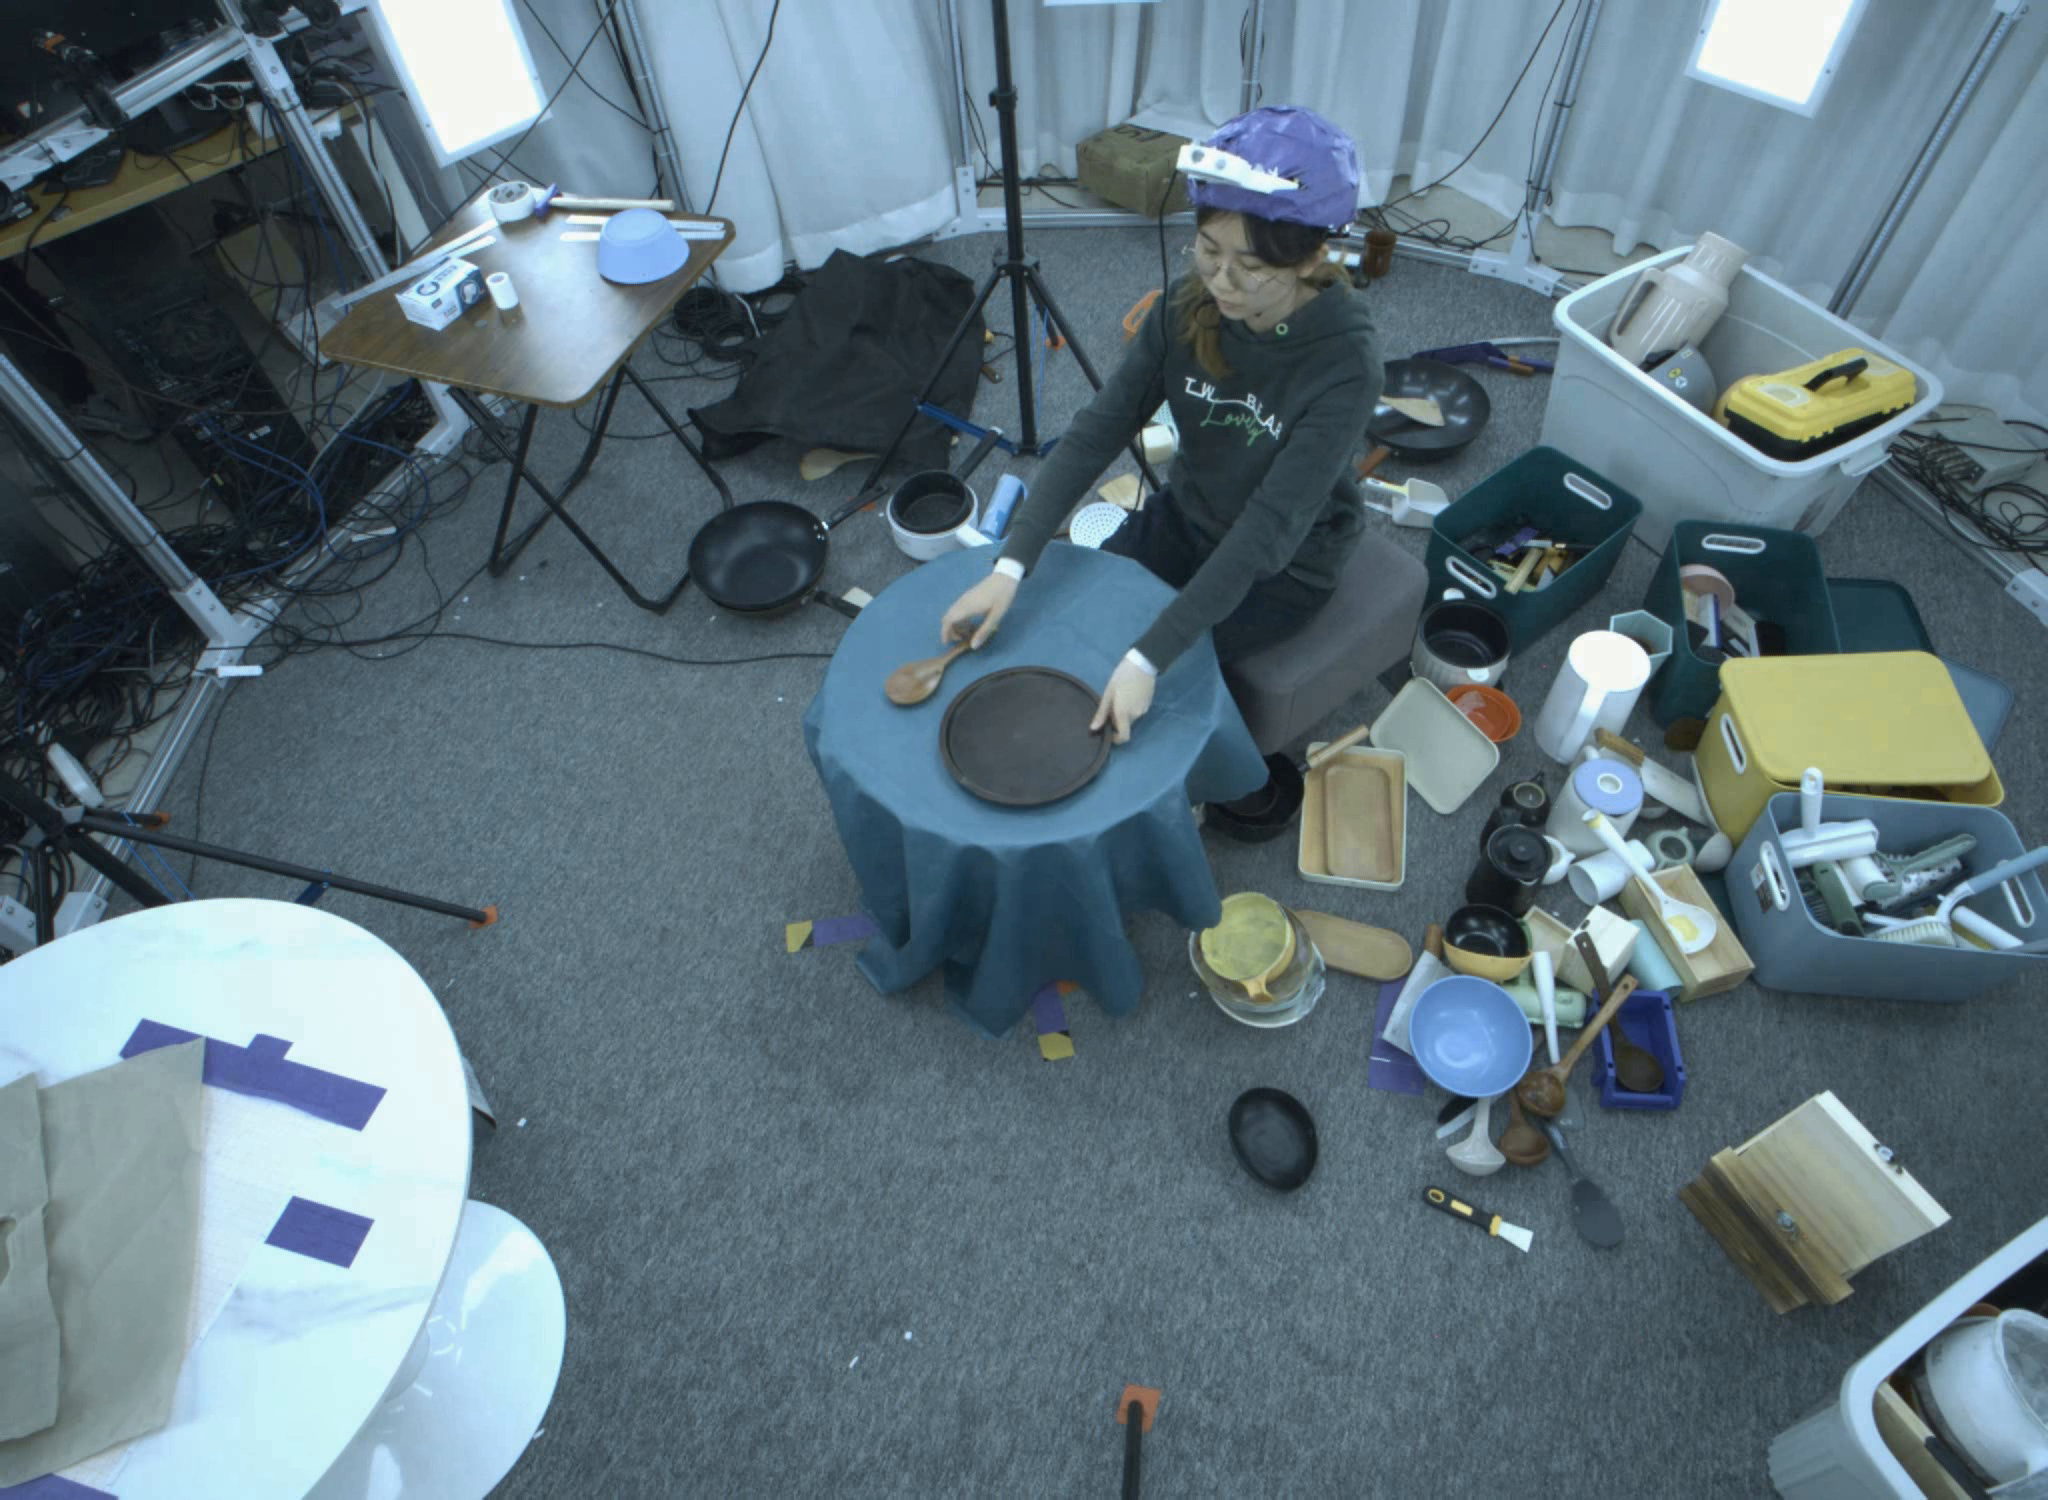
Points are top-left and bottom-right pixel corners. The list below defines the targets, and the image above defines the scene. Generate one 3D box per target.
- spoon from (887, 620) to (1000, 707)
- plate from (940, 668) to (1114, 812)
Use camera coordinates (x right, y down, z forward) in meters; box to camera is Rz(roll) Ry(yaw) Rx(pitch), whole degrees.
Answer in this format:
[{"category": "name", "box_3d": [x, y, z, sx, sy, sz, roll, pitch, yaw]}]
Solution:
[{"category": "spoon", "box_3d": [-0.119, -0.133, 1.884, 0.217, 0.017, 0.074, -40, 62, -23]}, {"category": "plate", "box_3d": [0.005, -0.016, 1.795, 0.255, 0.029, 0.252, 0, 56, 1]}]
